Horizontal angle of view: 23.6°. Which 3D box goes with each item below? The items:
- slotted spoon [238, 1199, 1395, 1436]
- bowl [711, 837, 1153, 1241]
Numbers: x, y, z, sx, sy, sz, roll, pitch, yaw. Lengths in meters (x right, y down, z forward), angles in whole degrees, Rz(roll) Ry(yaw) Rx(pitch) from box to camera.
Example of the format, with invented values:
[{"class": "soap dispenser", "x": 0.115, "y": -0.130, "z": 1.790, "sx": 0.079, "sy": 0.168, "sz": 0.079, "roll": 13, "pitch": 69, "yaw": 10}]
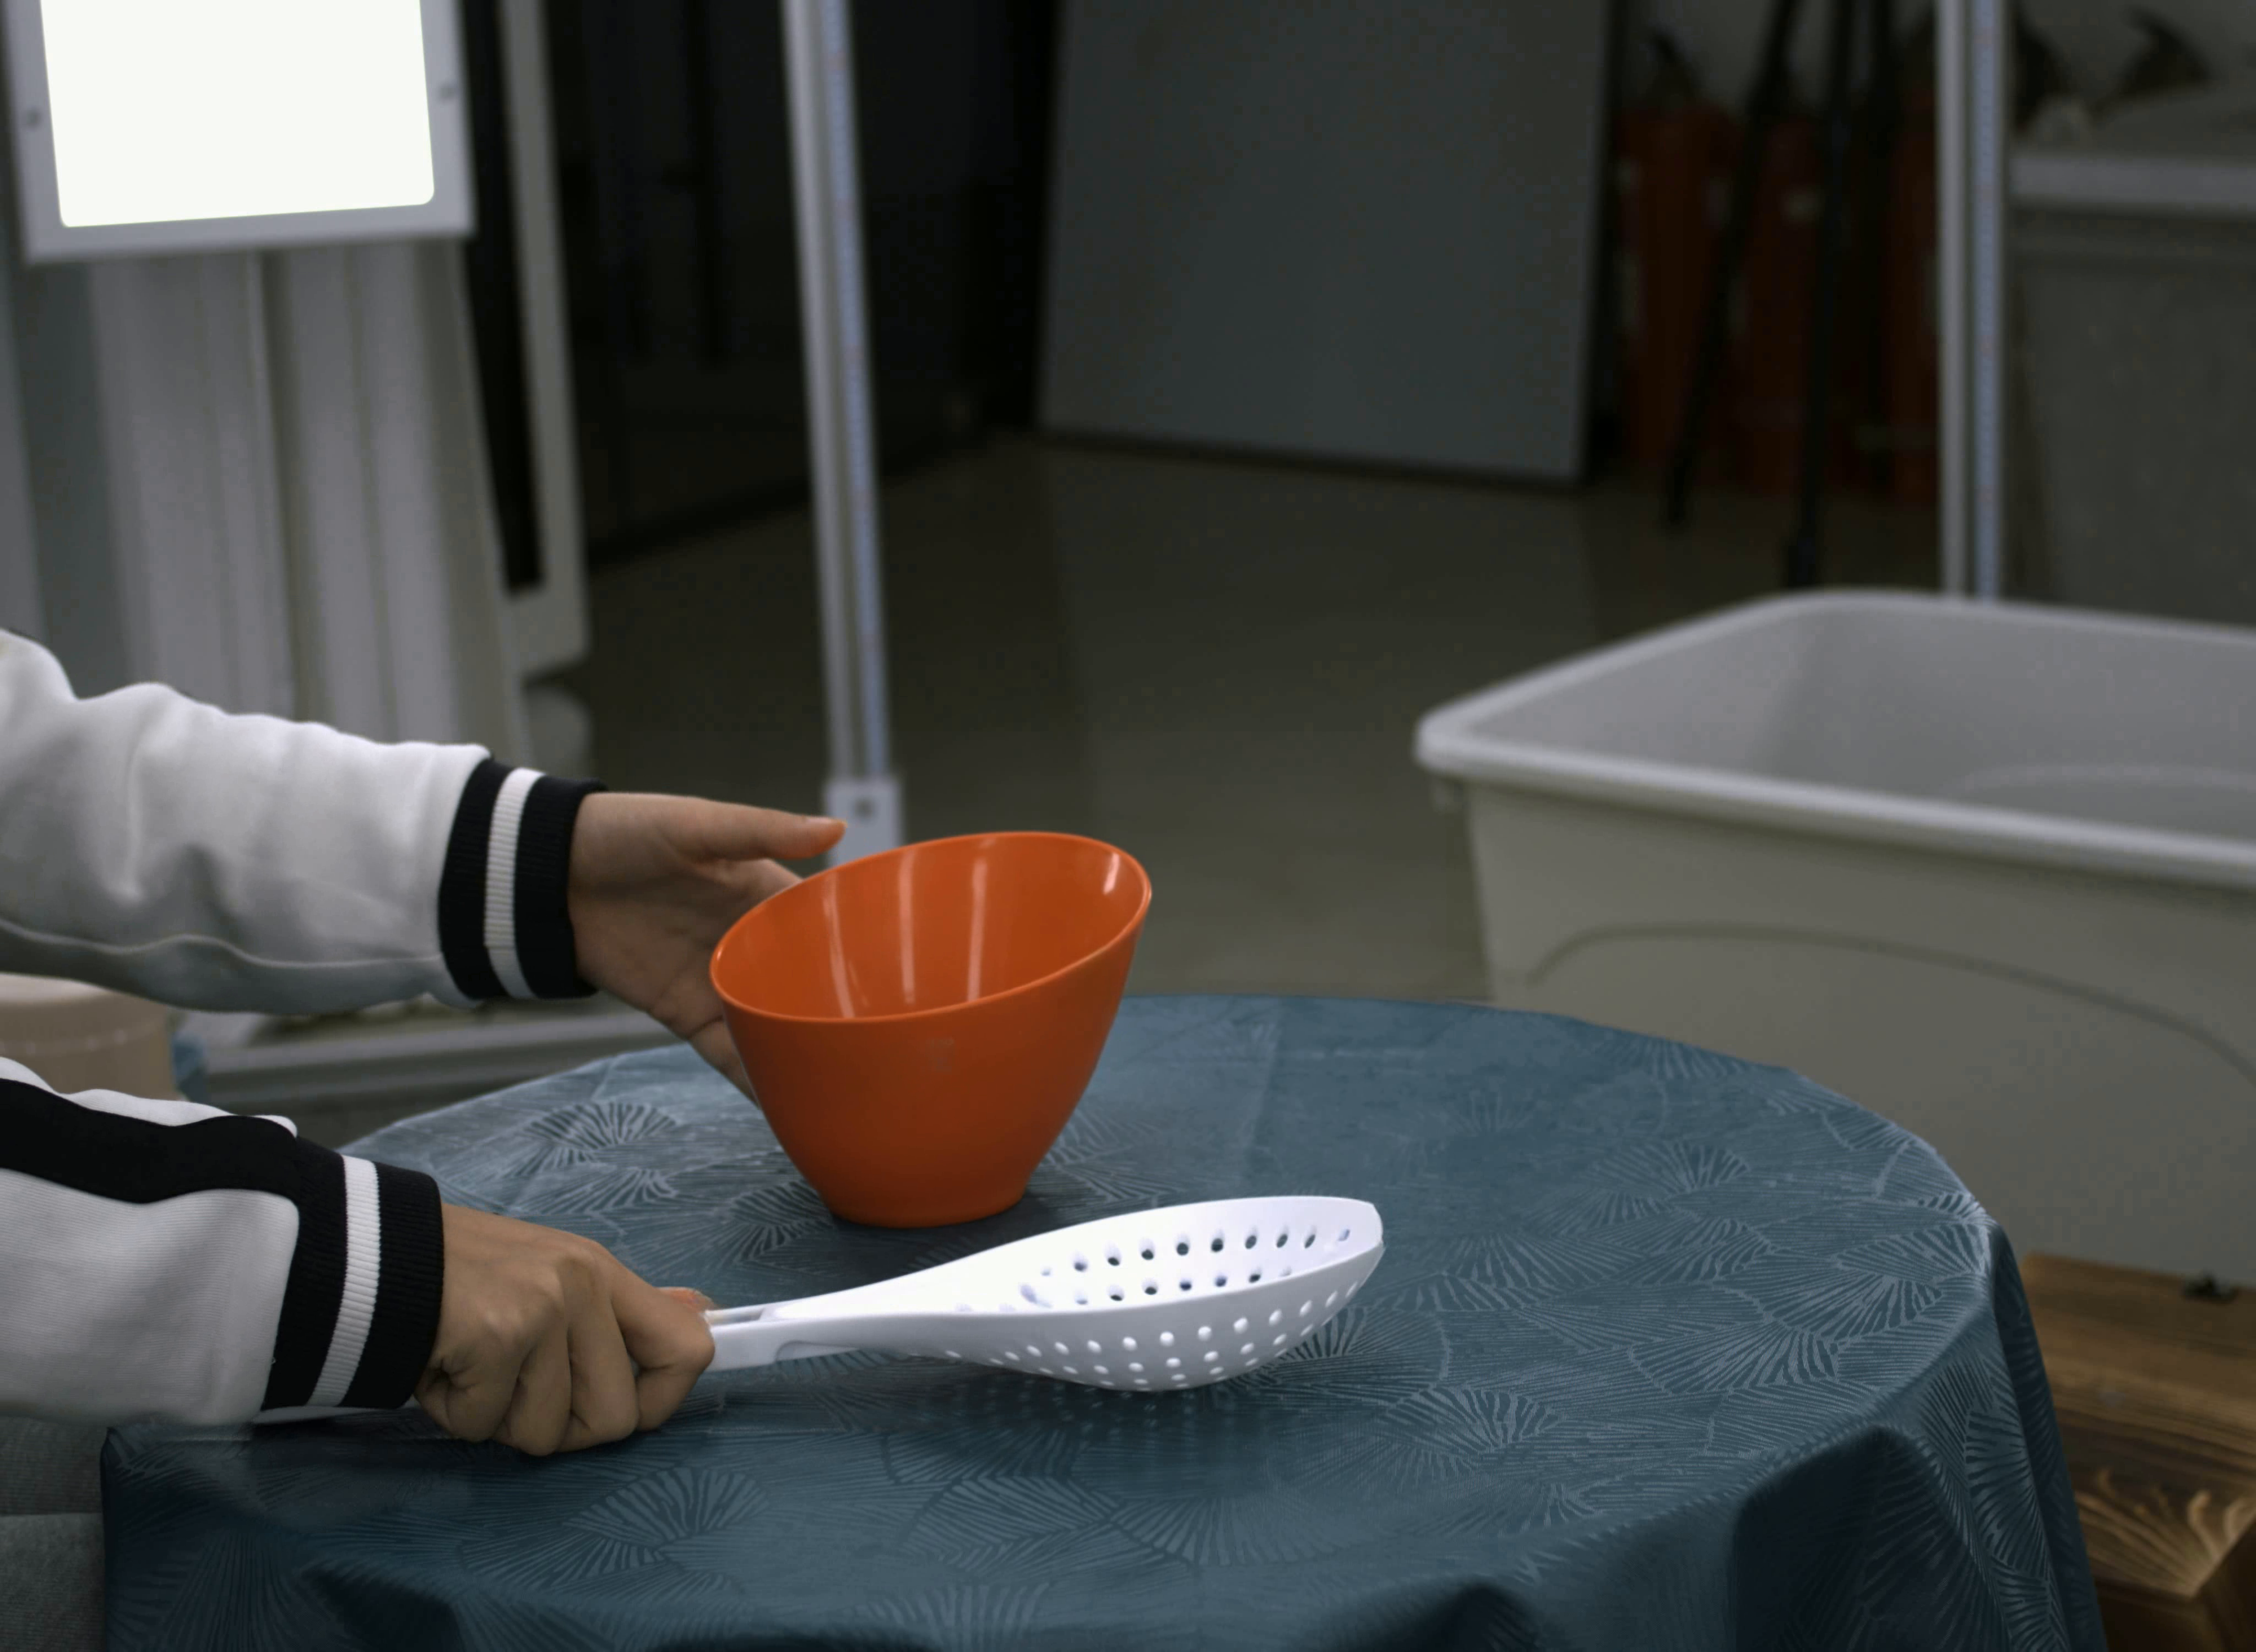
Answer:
[{"class": "slotted spoon", "x": -0.092, "y": 0.148, "z": 1.594, "sx": 0.346, "sy": 0.046, "sz": 0.136, "roll": -4, "pitch": 6, "yaw": 5}, {"class": "bowl", "x": -0.061, "y": 0.073, "z": 1.773, "sx": 0.146, "sy": 0.106, "sz": 0.148, "roll": -4, "pitch": 15, "yaw": 0}]
